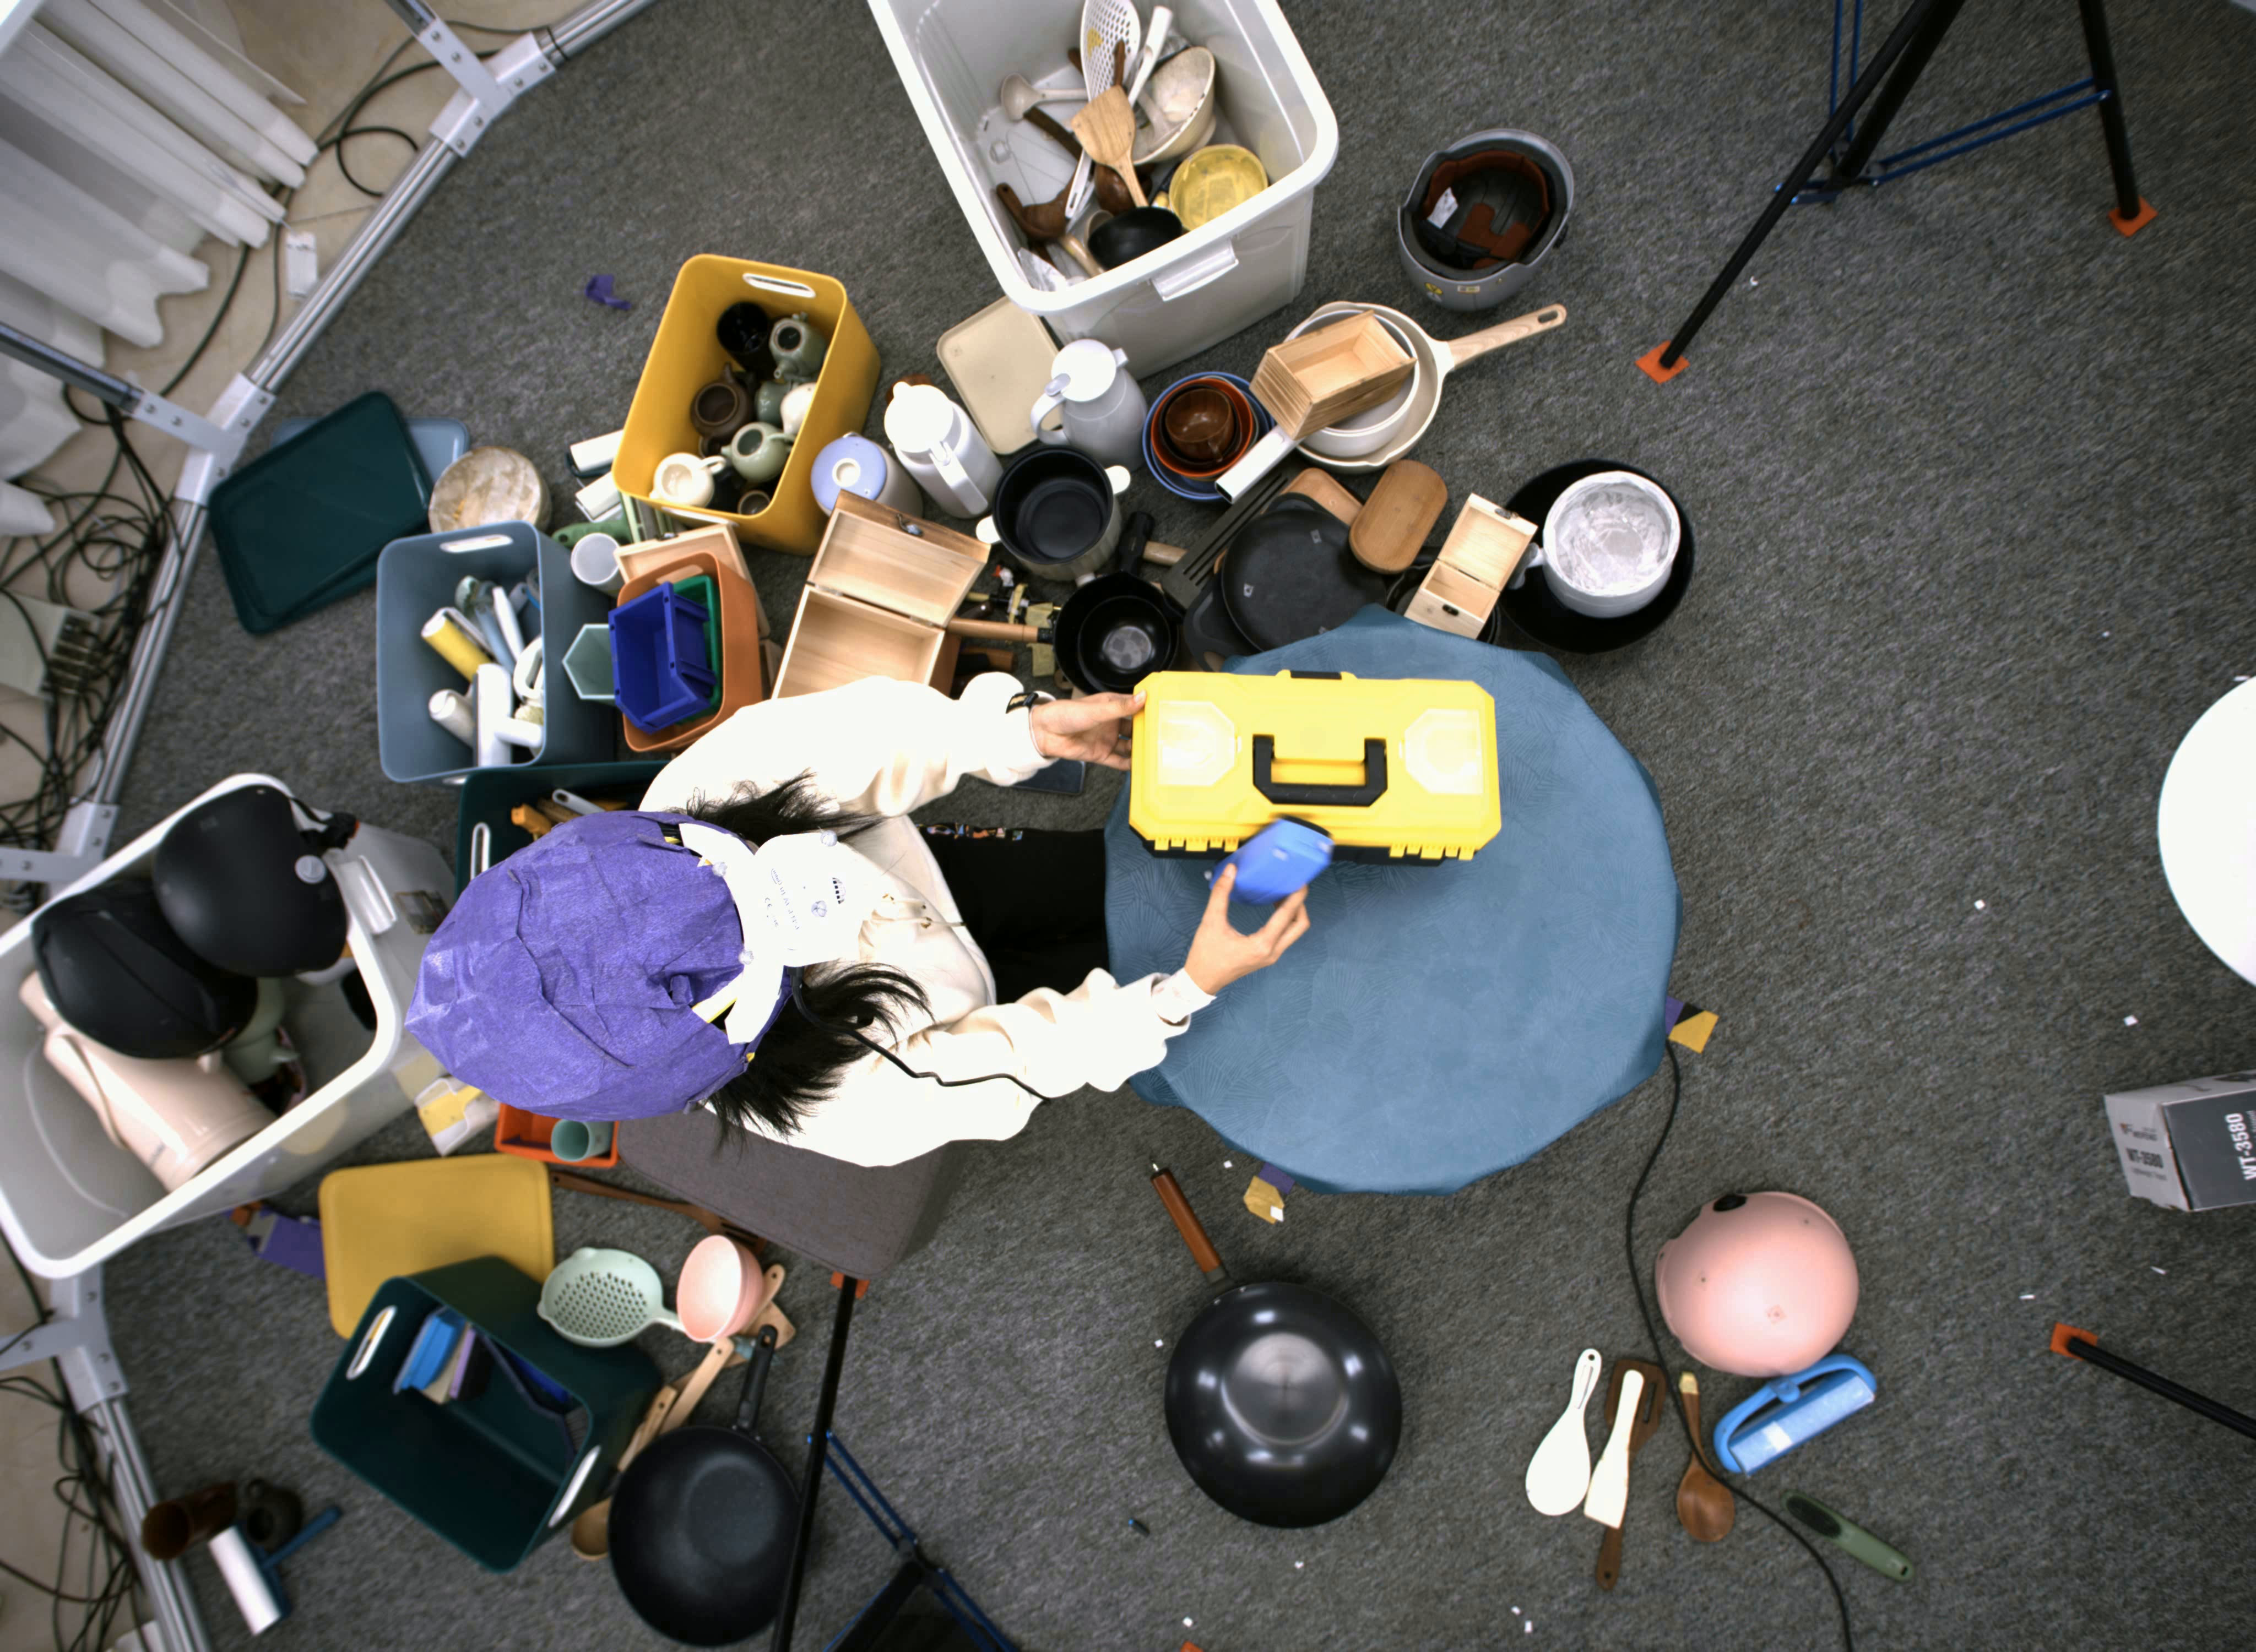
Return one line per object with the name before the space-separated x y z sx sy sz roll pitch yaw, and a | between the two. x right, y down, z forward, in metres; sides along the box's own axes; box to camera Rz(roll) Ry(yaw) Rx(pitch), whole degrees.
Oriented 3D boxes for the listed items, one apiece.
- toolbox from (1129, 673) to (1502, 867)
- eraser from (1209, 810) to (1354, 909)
toolbox | 0.177 -0.051 1.361 0.352 0.175 0.178 2 74 0
eraser | 0.139 0.038 1.281 0.054 0.165 0.046 19 60 -26
